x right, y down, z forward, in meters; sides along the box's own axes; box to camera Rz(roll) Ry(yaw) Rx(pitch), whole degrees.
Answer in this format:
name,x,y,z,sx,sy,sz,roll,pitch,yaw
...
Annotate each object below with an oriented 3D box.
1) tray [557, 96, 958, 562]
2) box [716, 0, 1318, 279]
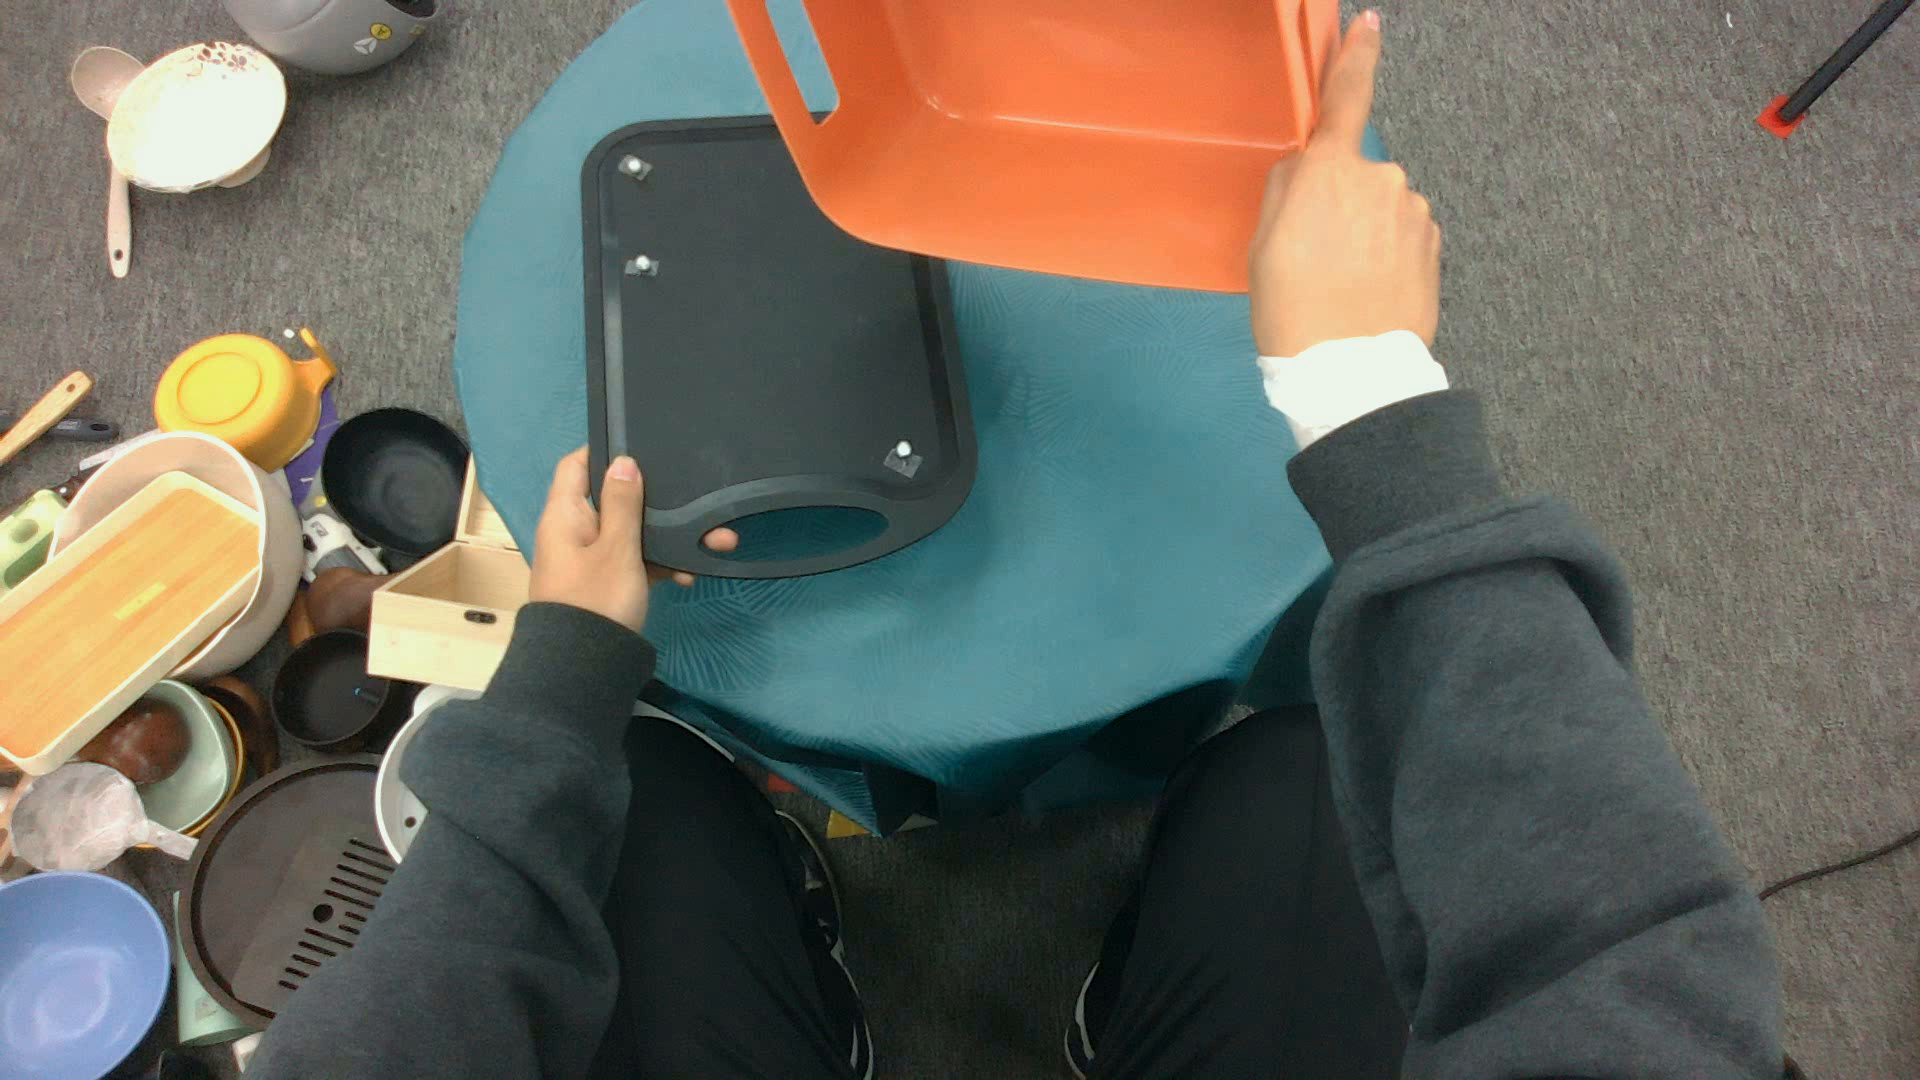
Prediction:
name,x,y,z,sx,sy,sz,roll,pitch,yaw
tray,-0.119,-0.134,0.786,0.211,0.010,0.326,-6,63,-8
box,0.032,-0.239,0.642,0.273,0.198,0.103,14,57,26
